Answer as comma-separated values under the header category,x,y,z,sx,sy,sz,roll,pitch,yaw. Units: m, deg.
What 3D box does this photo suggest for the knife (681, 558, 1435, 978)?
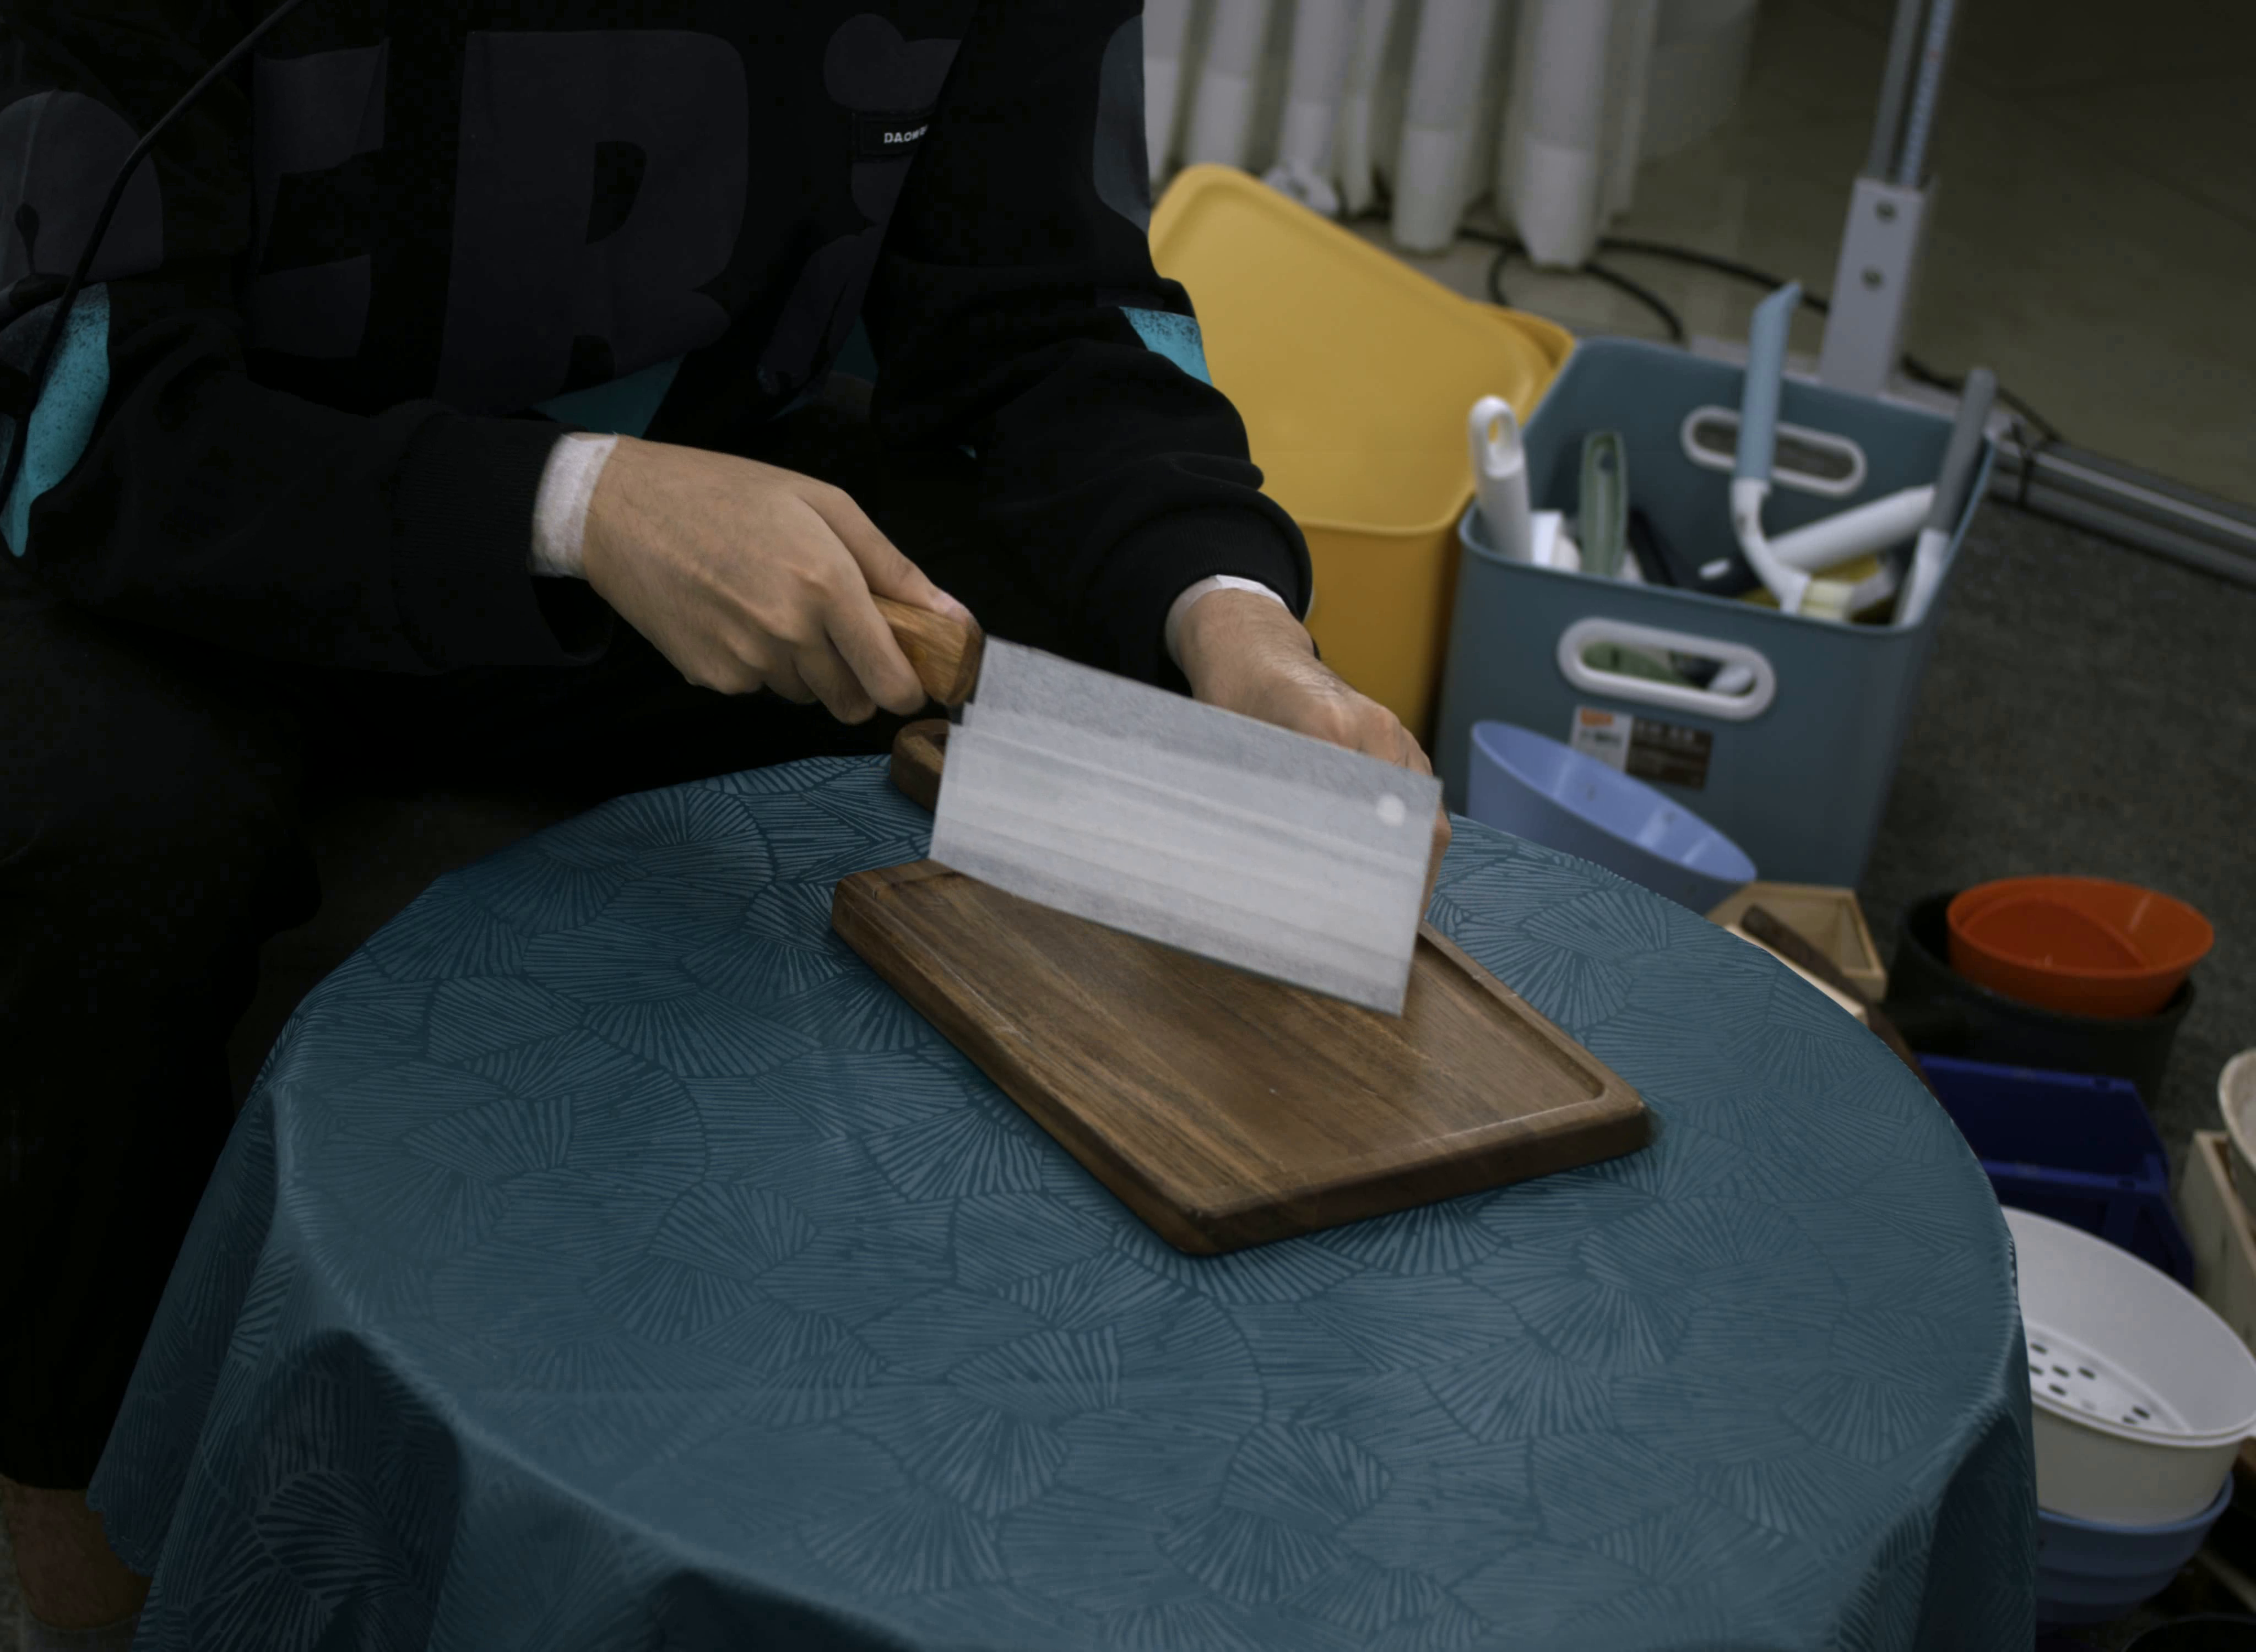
category,x,y,z,sx,sy,sz,roll,pitch,yaw
knife,-0.031,-0.018,1.873,0.307,0.093,0.021,18,23,24

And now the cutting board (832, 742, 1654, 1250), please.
category,x,y,z,sx,sy,sz,roll,pitch,yaw
cutting board,0.012,0.048,1.938,0.200,0.023,0.355,-10,29,-31
